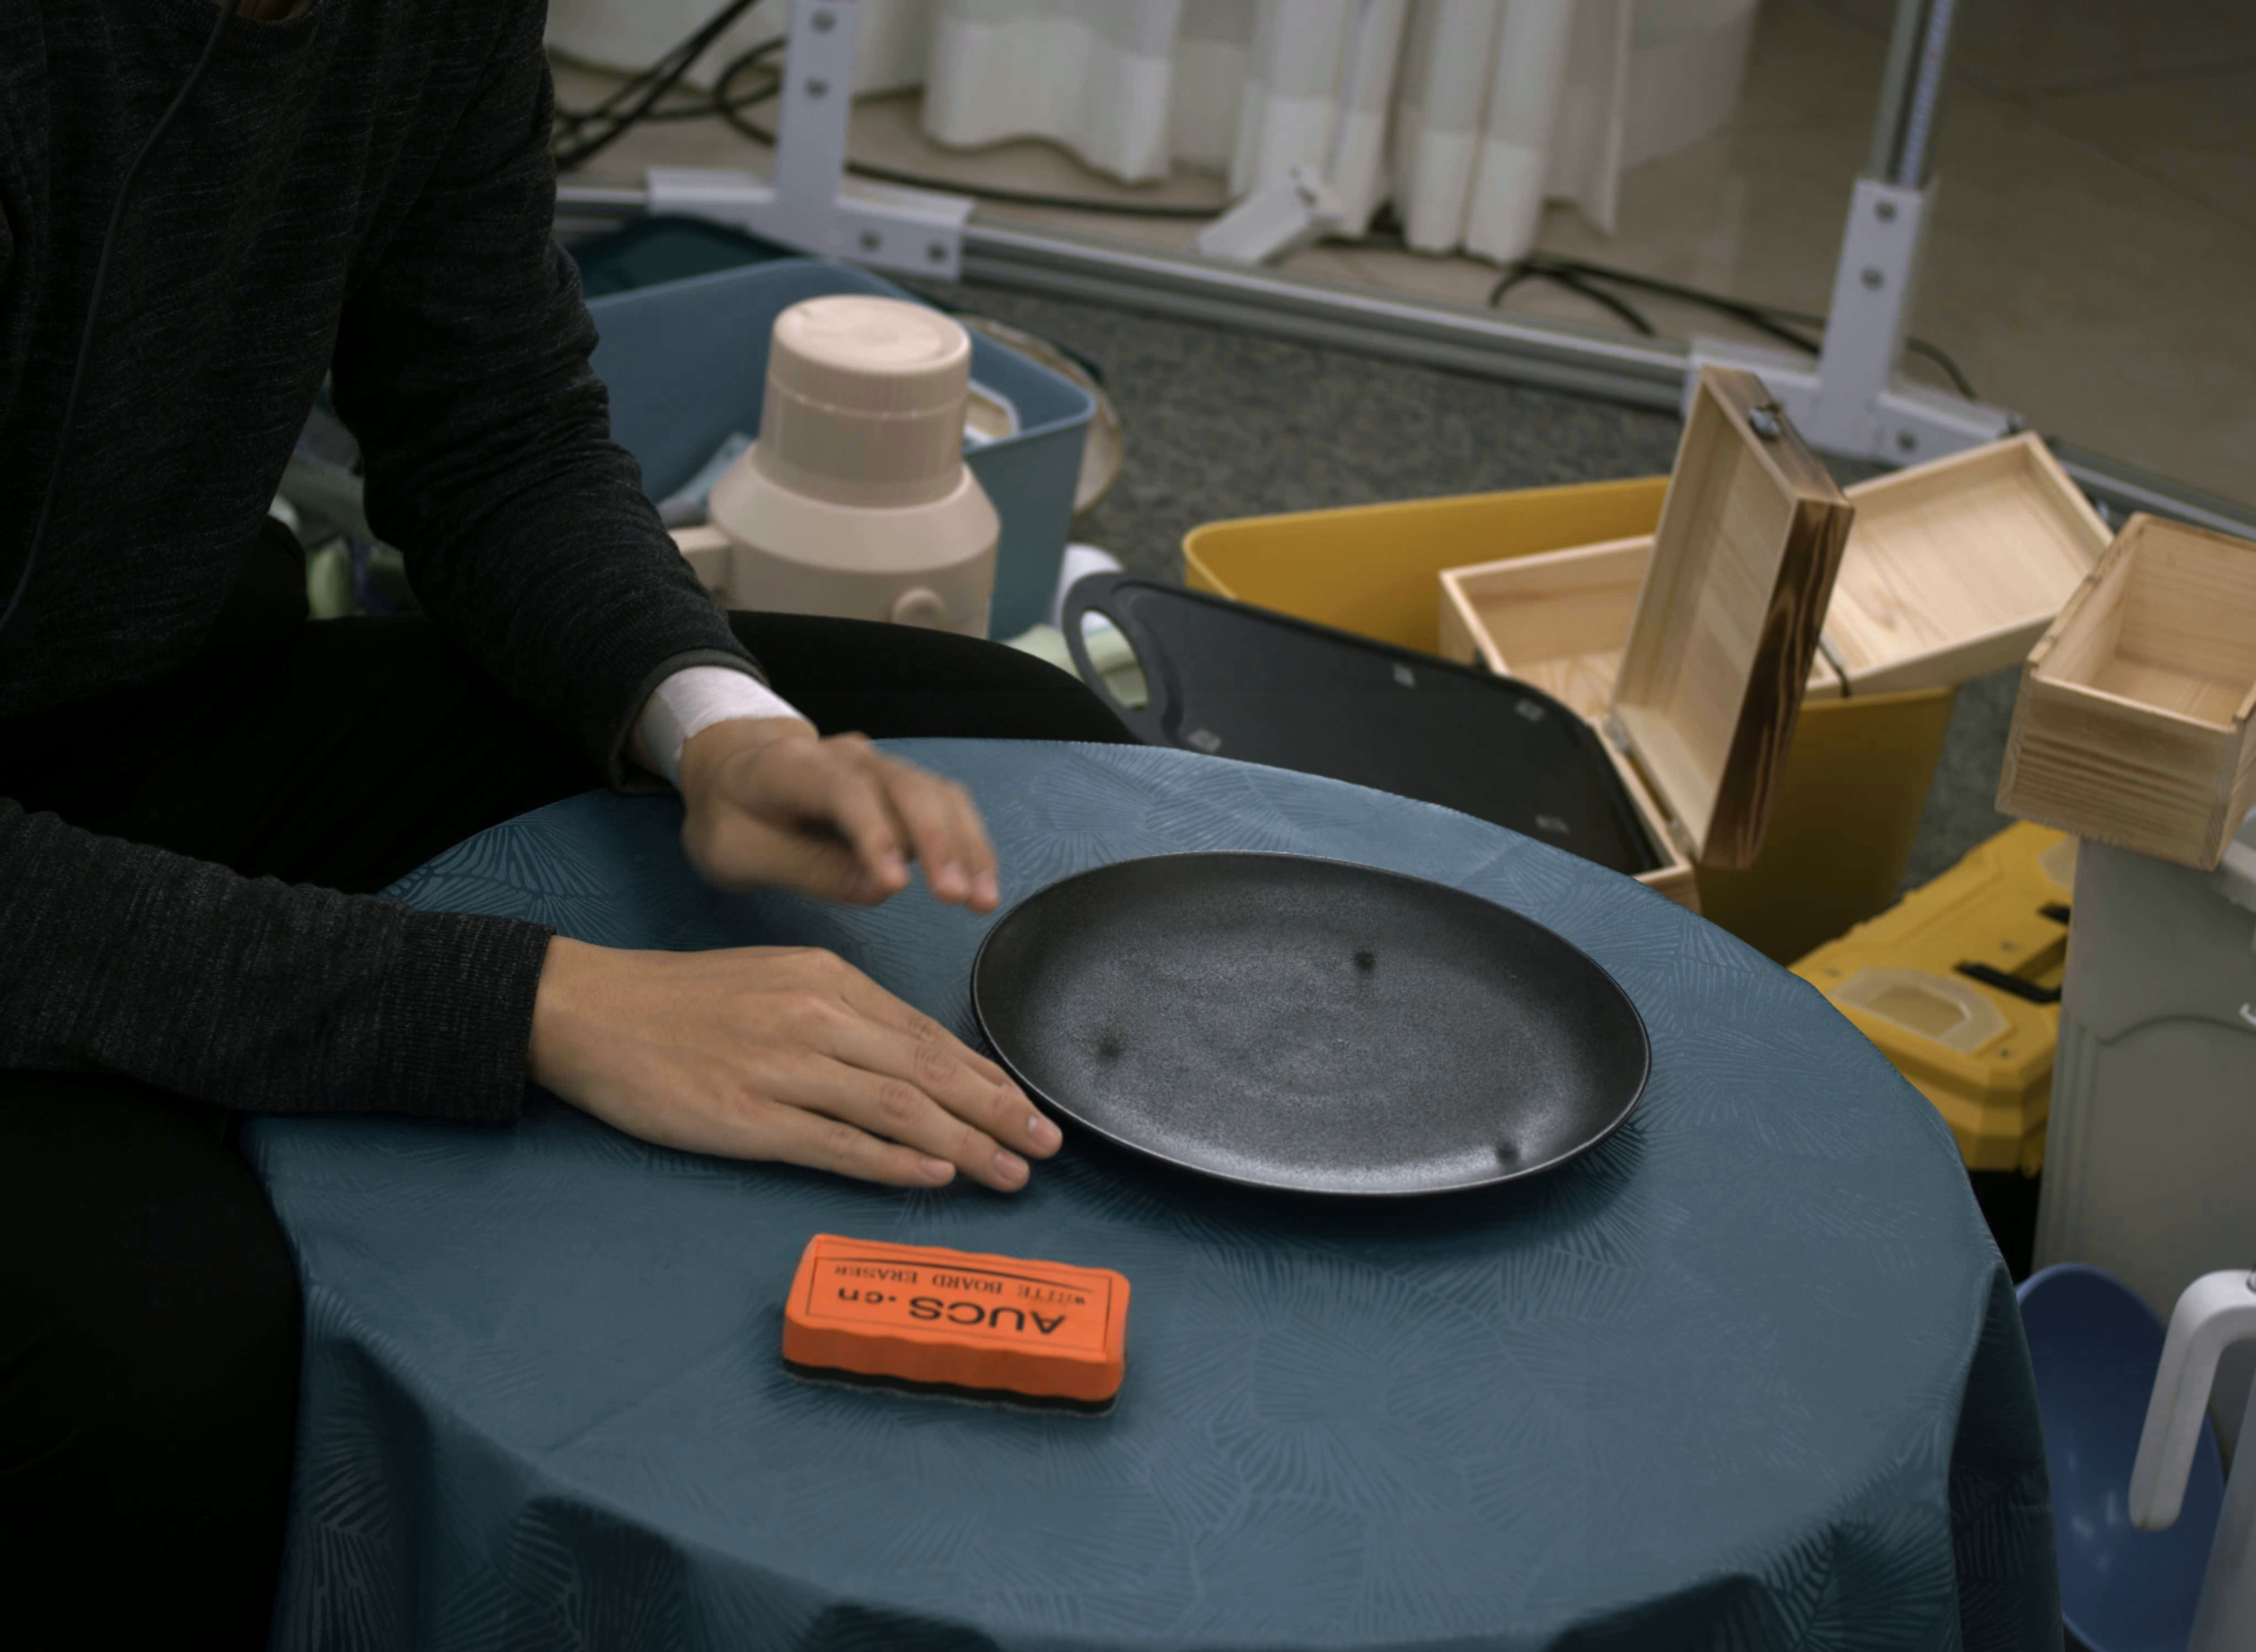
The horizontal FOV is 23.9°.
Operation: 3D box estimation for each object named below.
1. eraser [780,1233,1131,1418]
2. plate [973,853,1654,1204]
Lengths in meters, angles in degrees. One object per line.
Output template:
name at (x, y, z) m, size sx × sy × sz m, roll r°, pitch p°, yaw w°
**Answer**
eraser at (-0.055, 0.159, 1.694) m, size 0.108 × 0.023 × 0.059 m, roll 8°, pitch 25°, yaw 2°
plate at (0.065, 0.075, 1.886) m, size 0.243 × 0.023 × 0.246 m, roll 5°, pitch 27°, yaw -3°
